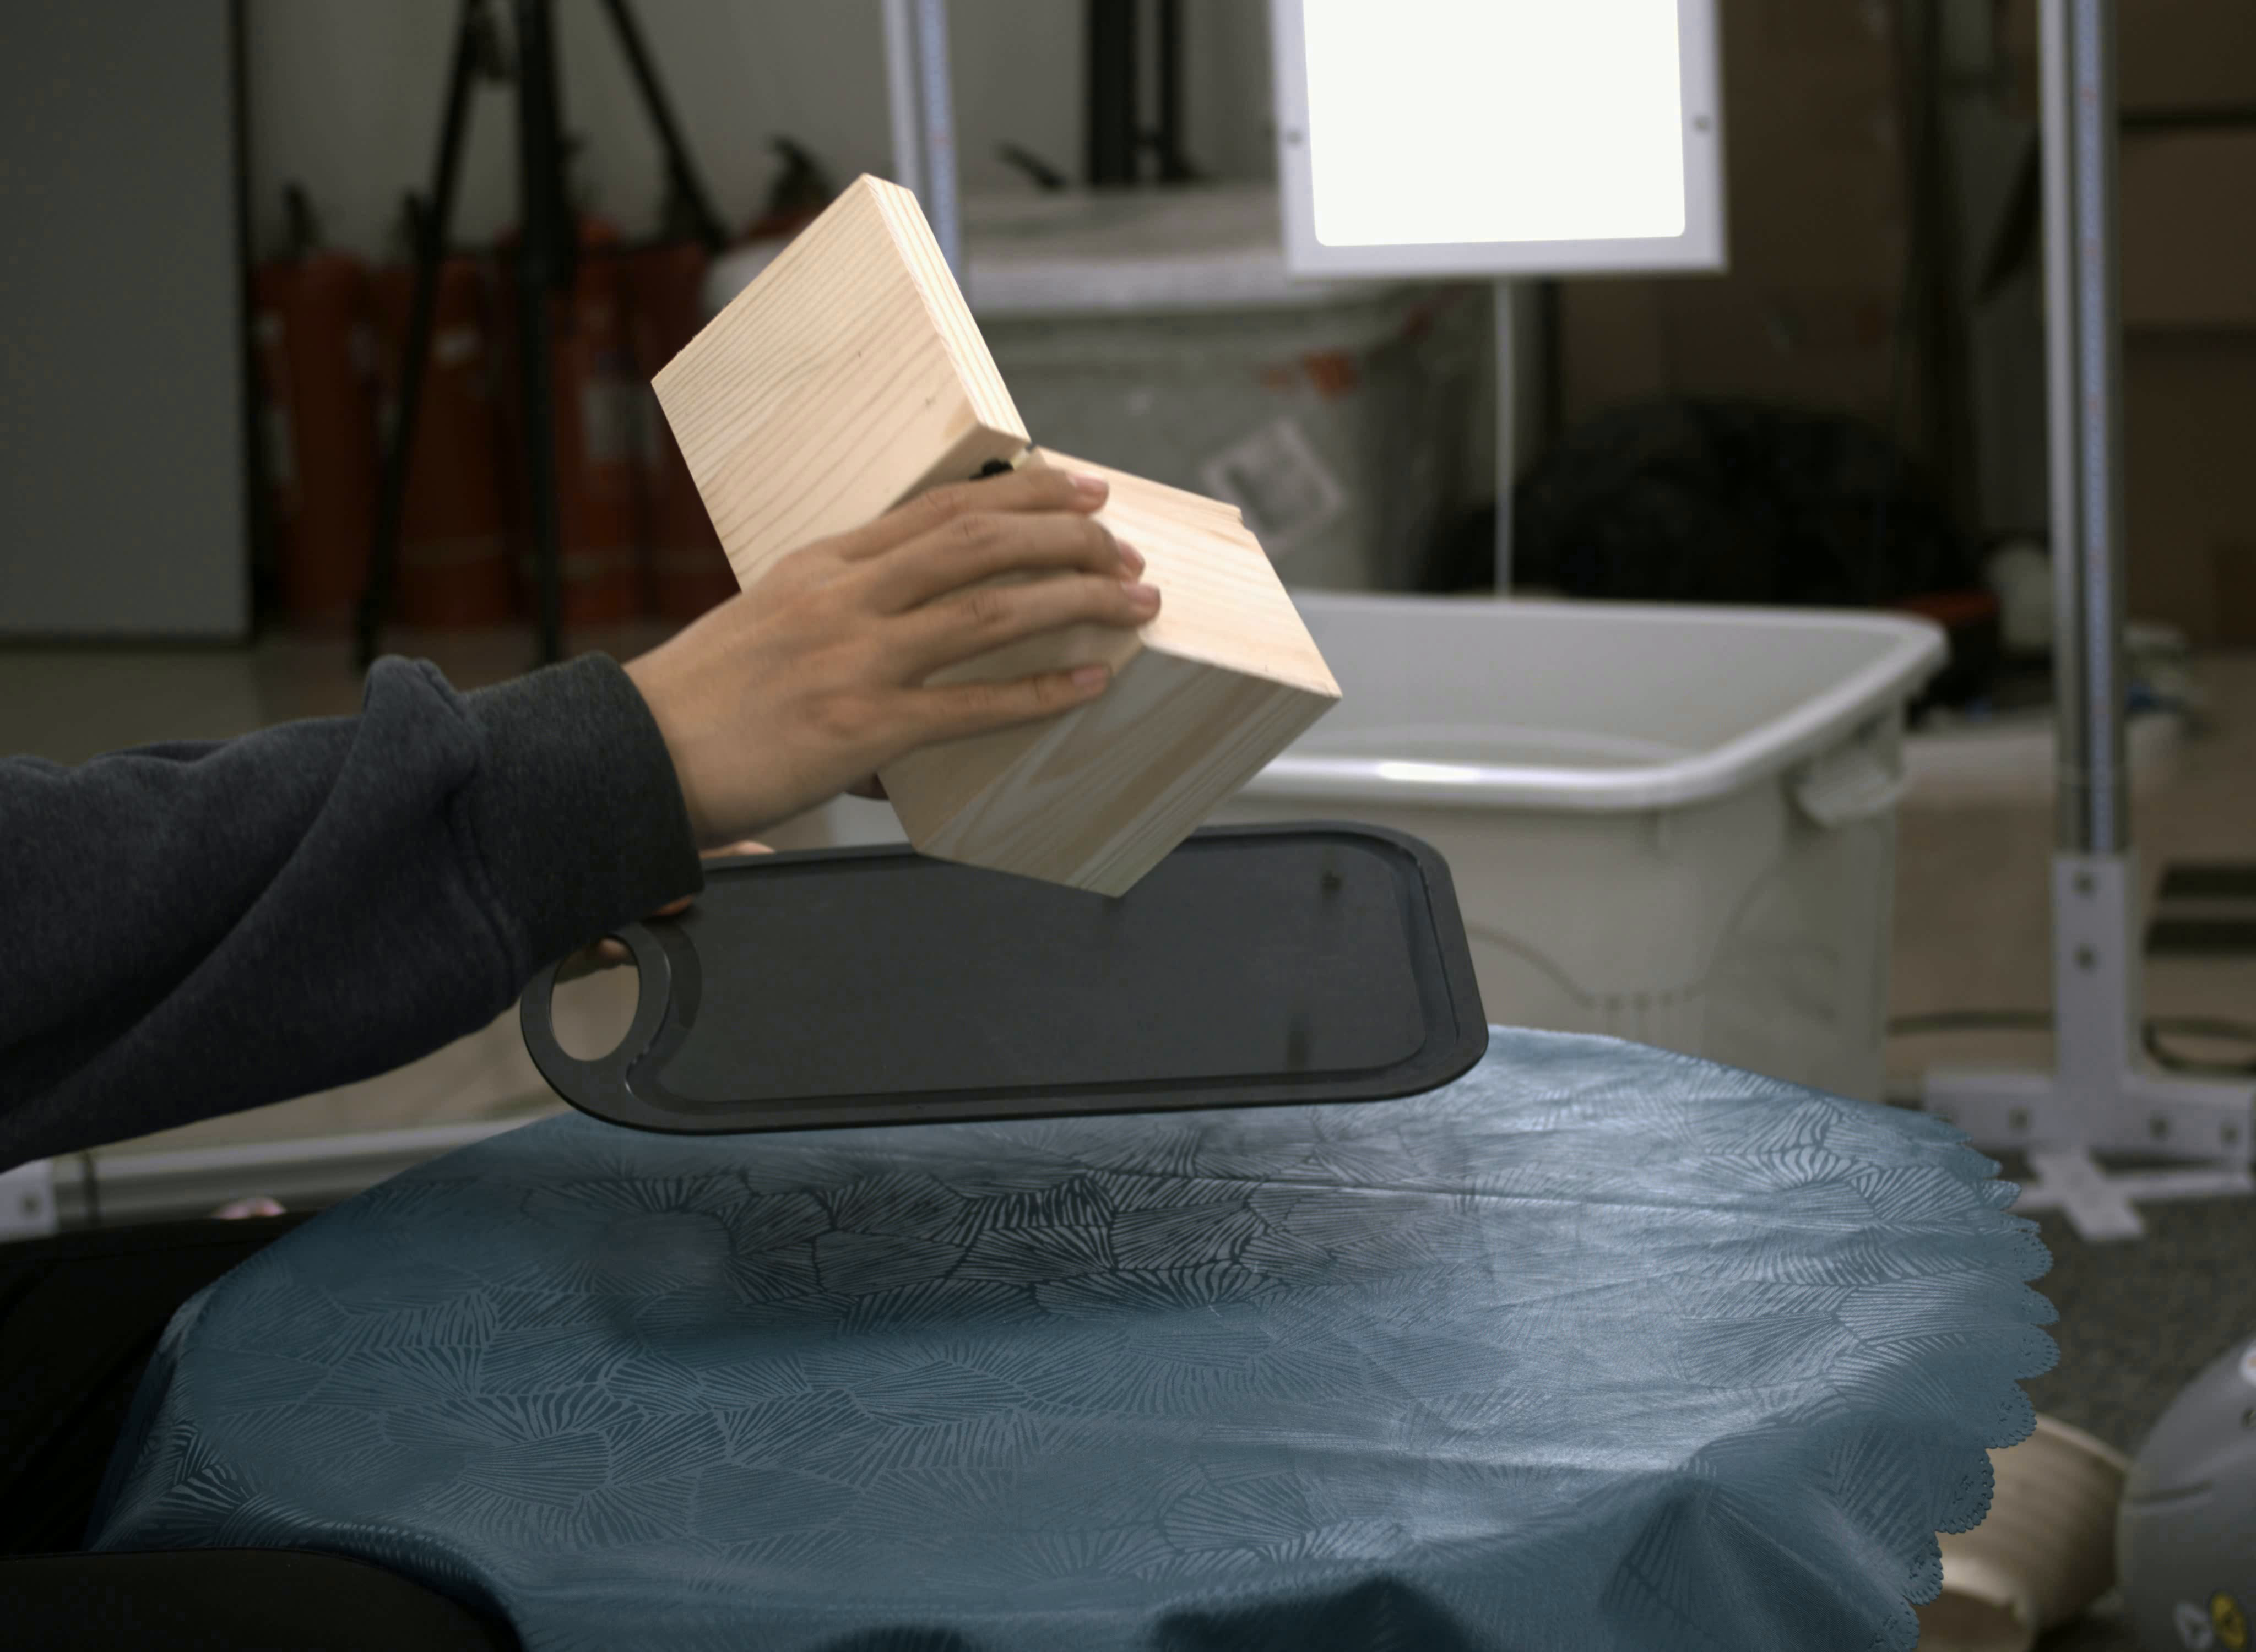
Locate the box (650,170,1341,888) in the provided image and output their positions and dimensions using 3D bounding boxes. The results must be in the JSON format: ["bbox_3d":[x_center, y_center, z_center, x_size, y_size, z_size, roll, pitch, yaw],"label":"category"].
[{"bbox_3d":[-0.041,-0.089,1.676,0.104,0.185,0.131,-40,-29,27],"label":"box"}]

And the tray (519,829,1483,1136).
[{"bbox_3d":[-0.045,0.050,1.876,0.325,0.010,0.210,-3,25,1],"label":"tray"}]
